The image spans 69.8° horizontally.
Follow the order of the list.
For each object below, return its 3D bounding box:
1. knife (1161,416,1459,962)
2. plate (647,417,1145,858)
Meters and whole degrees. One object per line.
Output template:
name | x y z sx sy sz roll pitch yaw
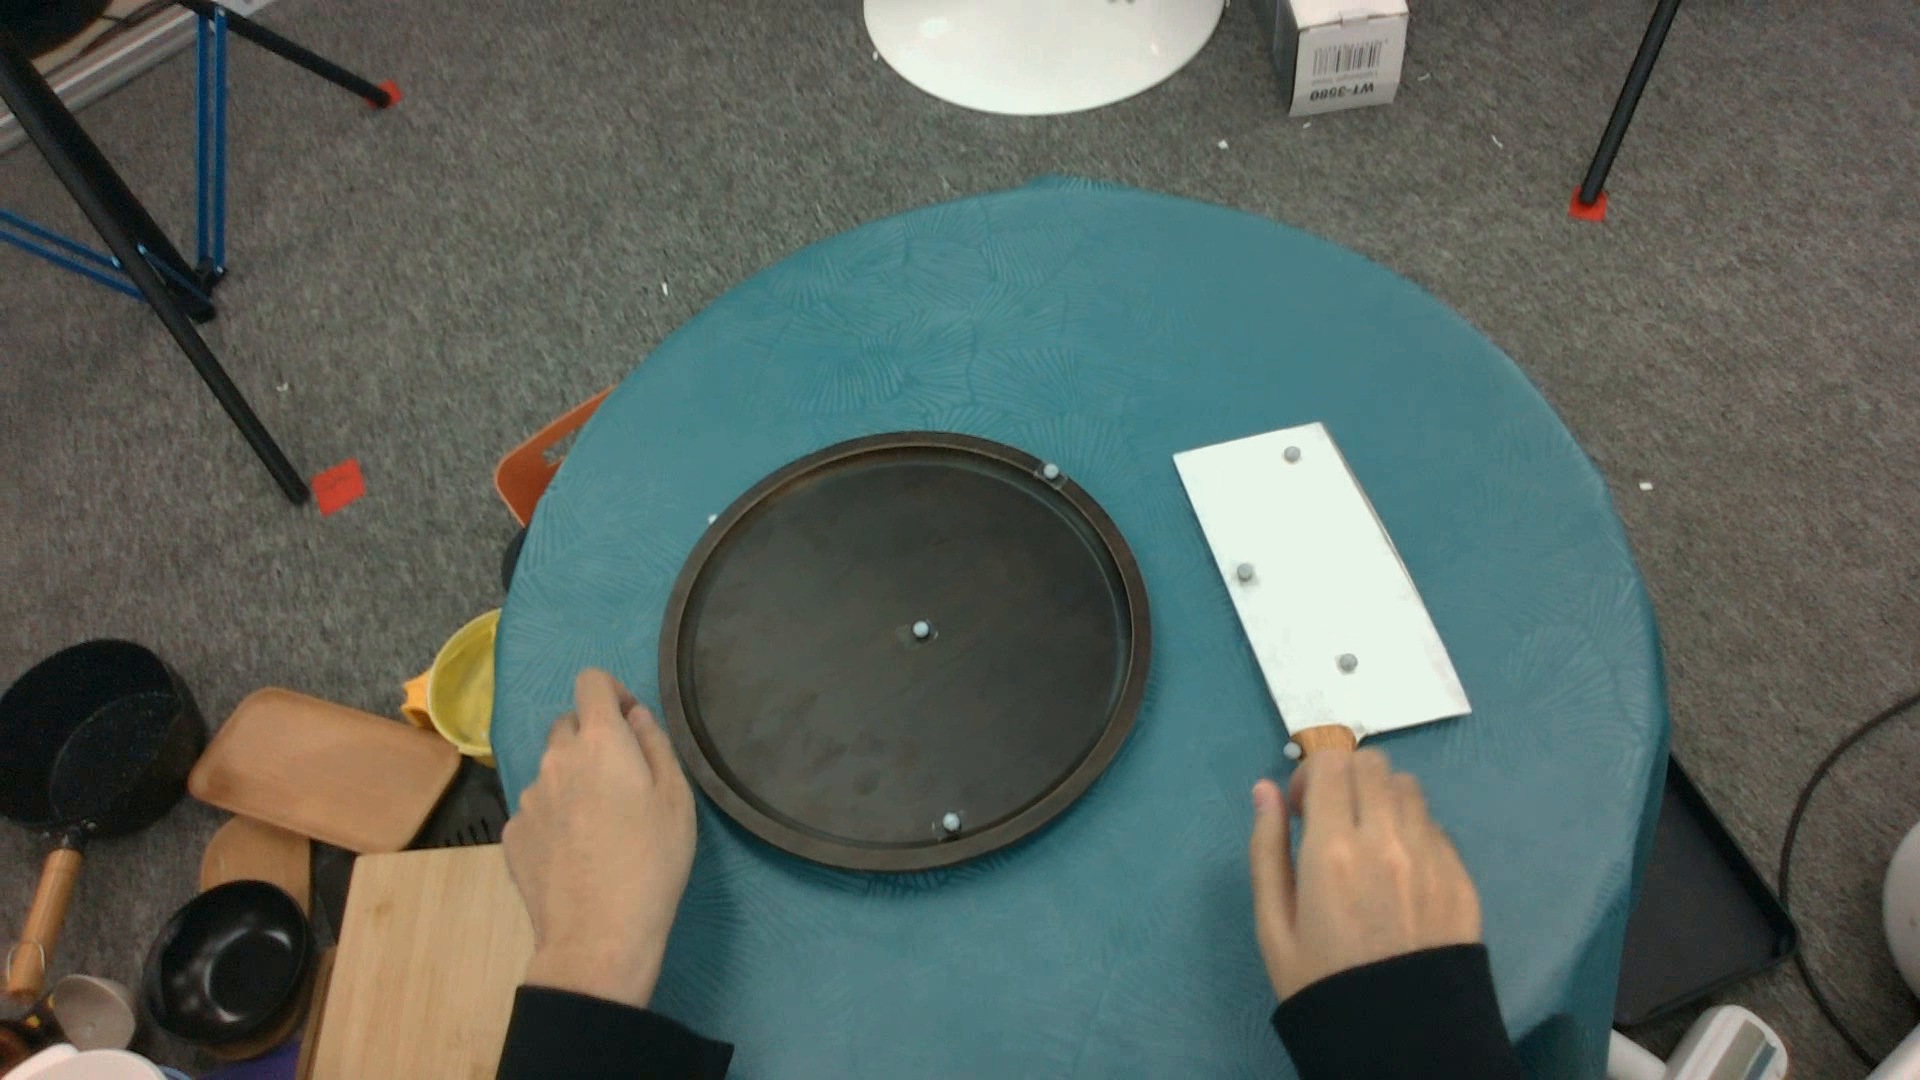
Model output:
knife | 0.190 0.054 0.687 0.093 0.021 0.307 -13 54 -6
plate | -0.033 0.042 0.705 0.255 0.029 0.256 -1 55 2
